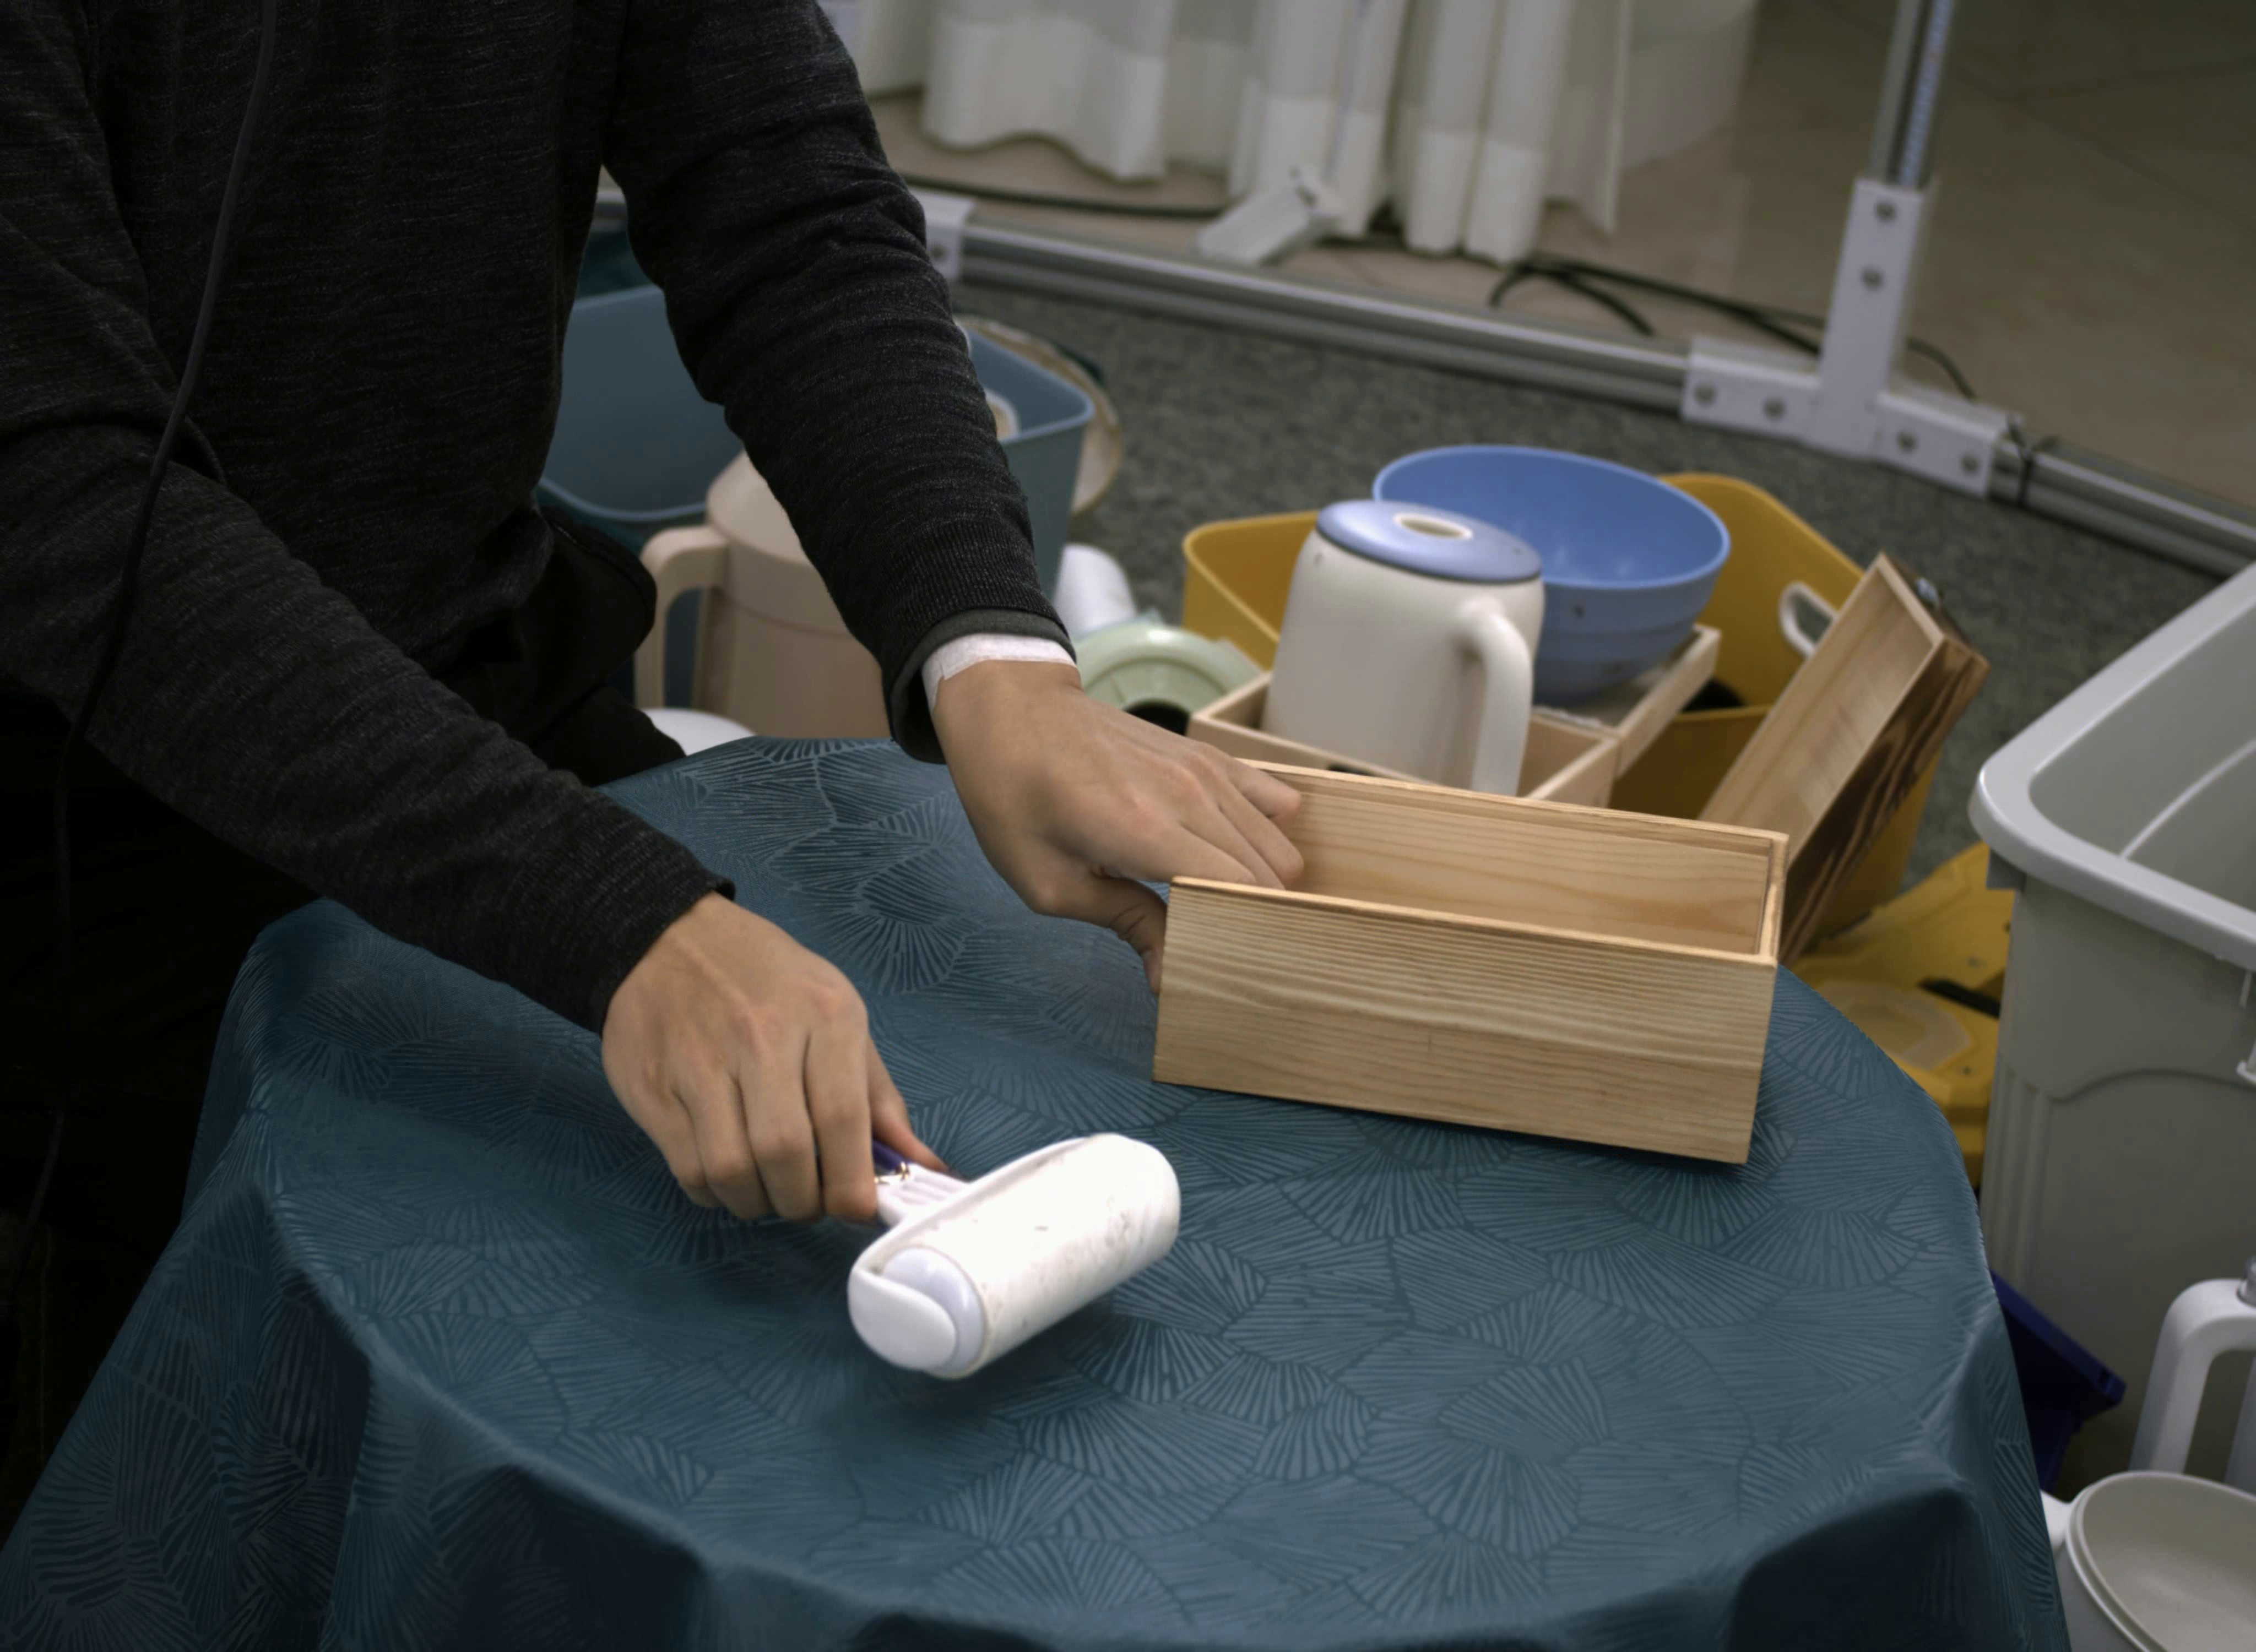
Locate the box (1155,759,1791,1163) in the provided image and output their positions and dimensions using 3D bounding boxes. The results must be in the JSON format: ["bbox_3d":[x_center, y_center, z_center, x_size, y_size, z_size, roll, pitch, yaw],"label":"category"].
[{"bbox_3d":[0.123,0.047,1.886,0.211,0.080,0.108,7,27,7],"label":"box"}]

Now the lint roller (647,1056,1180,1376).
[{"bbox_3d":[-0.082,0.105,1.715,0.182,0.050,0.132,32,36,28],"label":"lint roller"}]
